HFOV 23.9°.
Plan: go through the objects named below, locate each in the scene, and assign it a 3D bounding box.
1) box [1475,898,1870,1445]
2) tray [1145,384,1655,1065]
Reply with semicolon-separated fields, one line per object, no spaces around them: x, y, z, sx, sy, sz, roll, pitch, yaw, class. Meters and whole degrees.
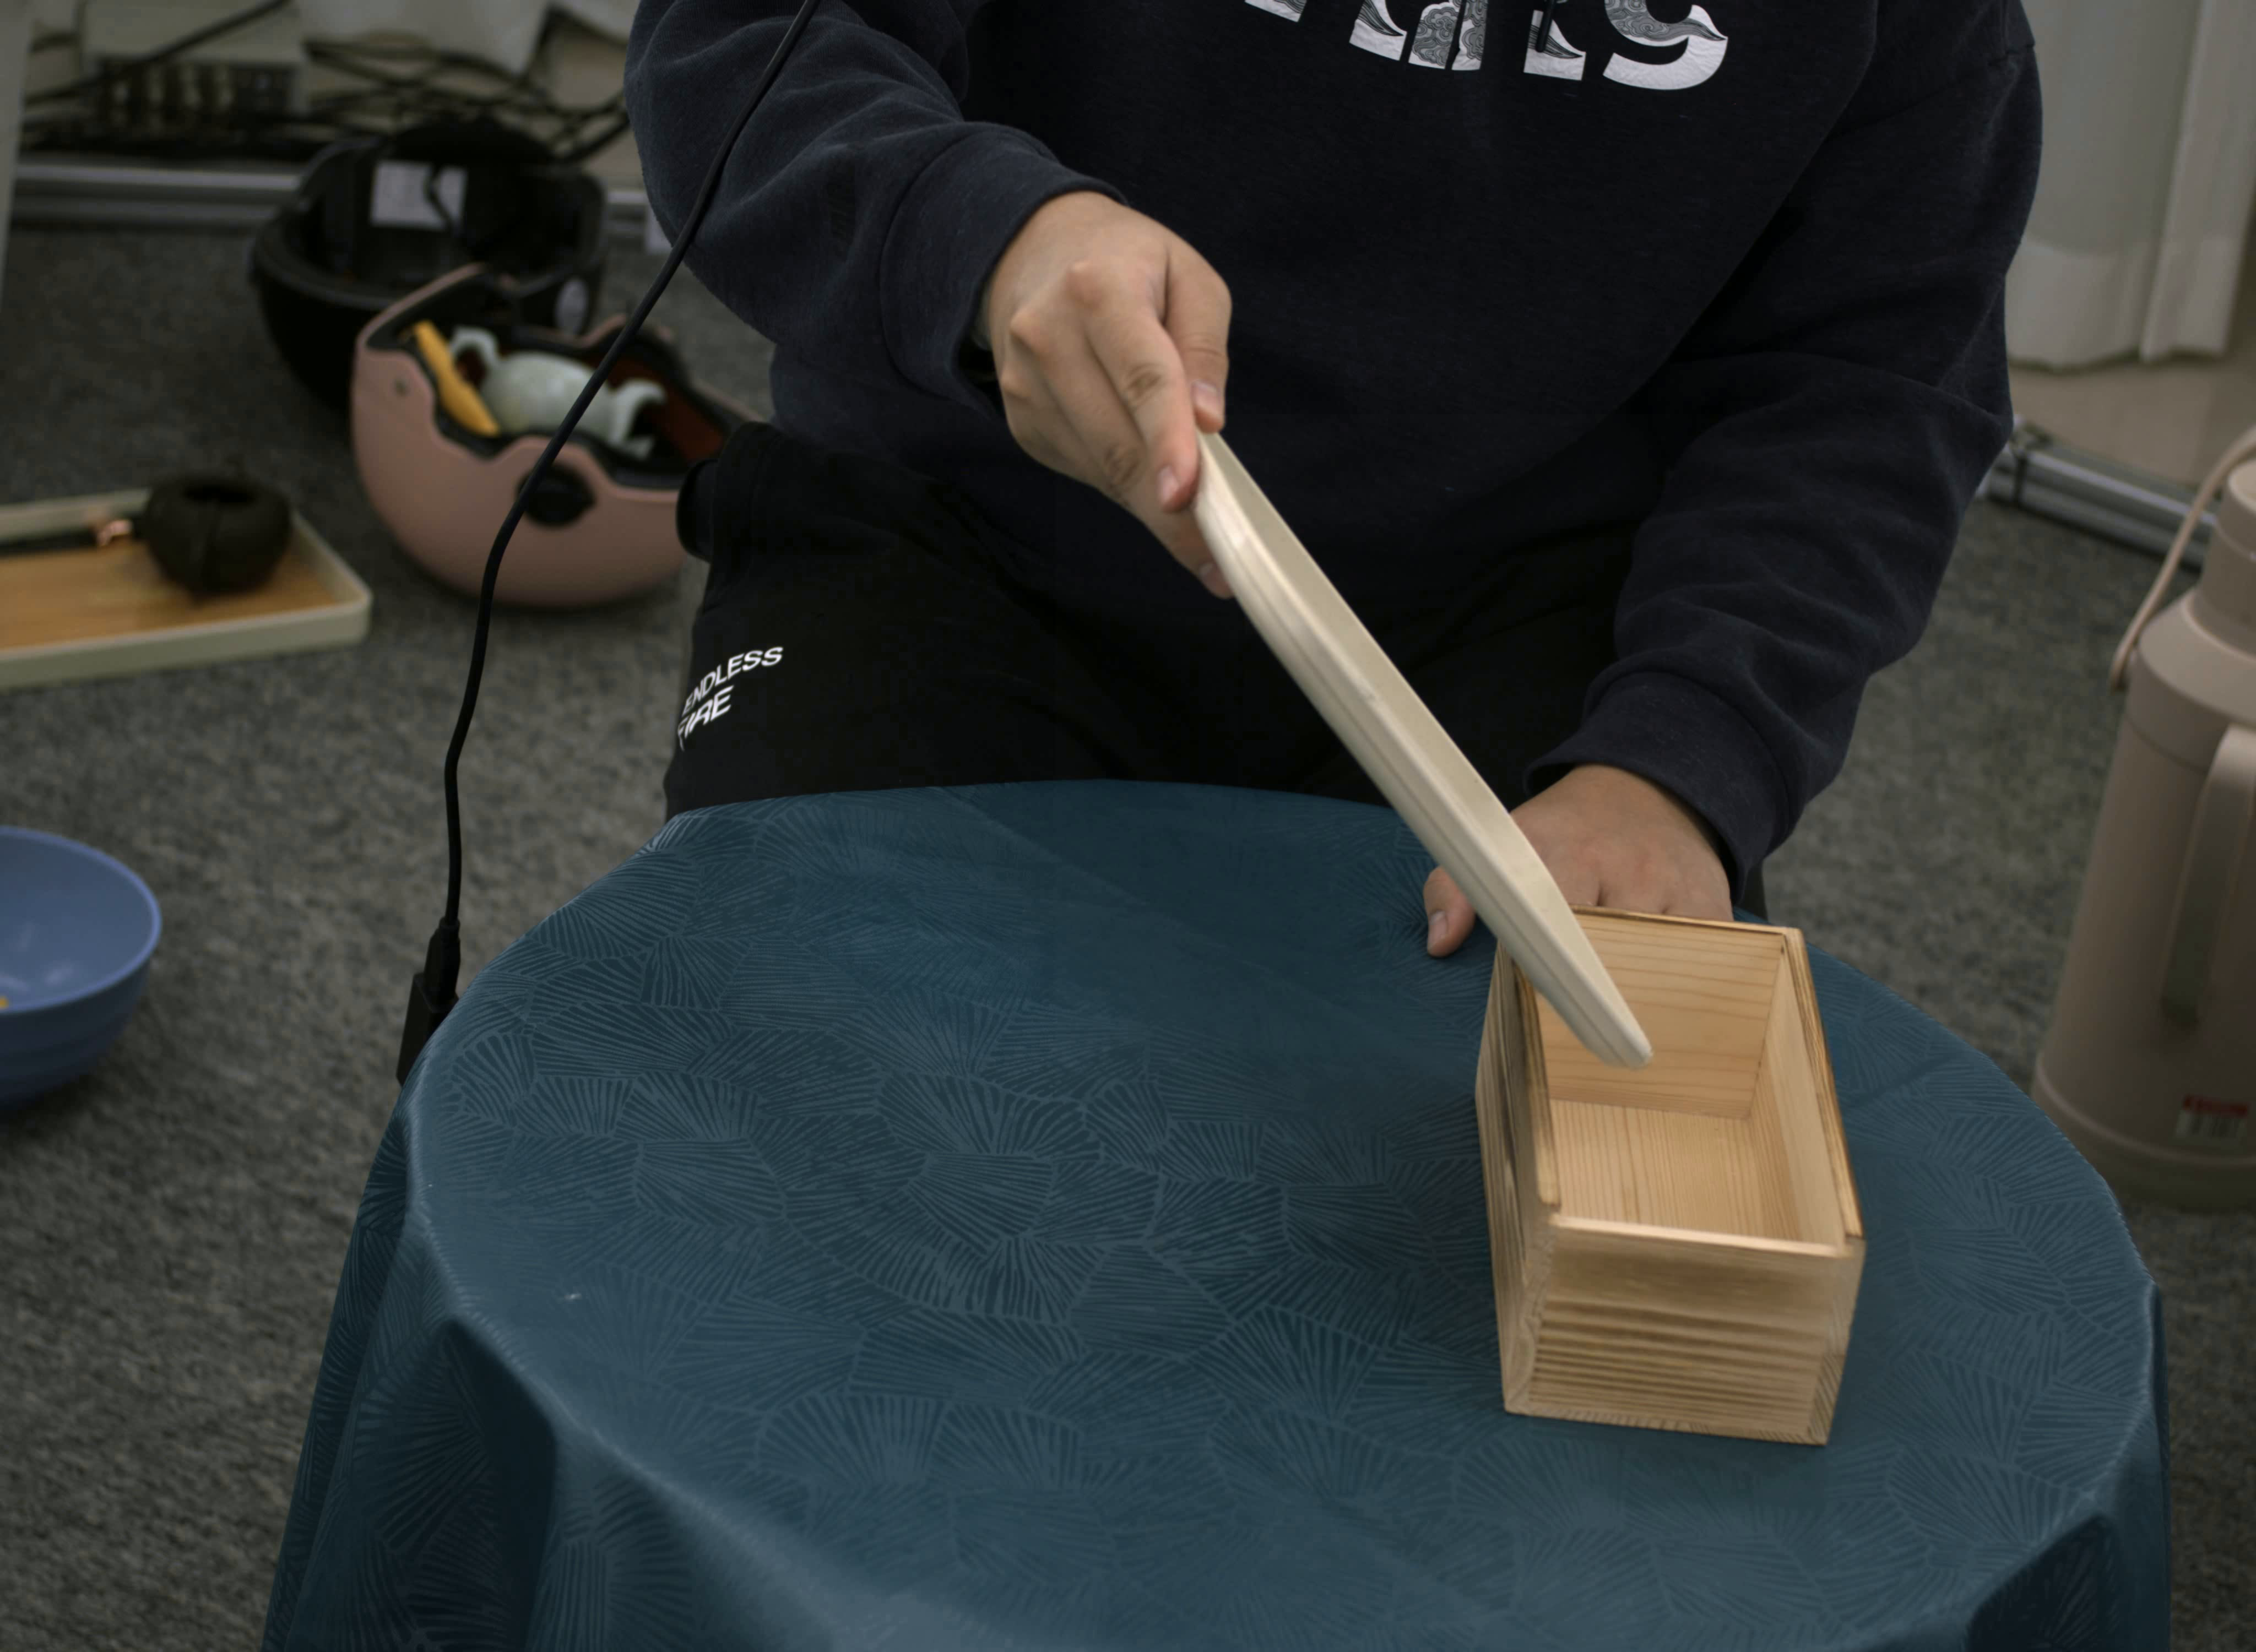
0.179;0.112;1.784;0.107;0.080;0.212;6;27;-3;box
0.085;-0.030;1.715;0.017;0.238;0.172;-36;28;6;tray
